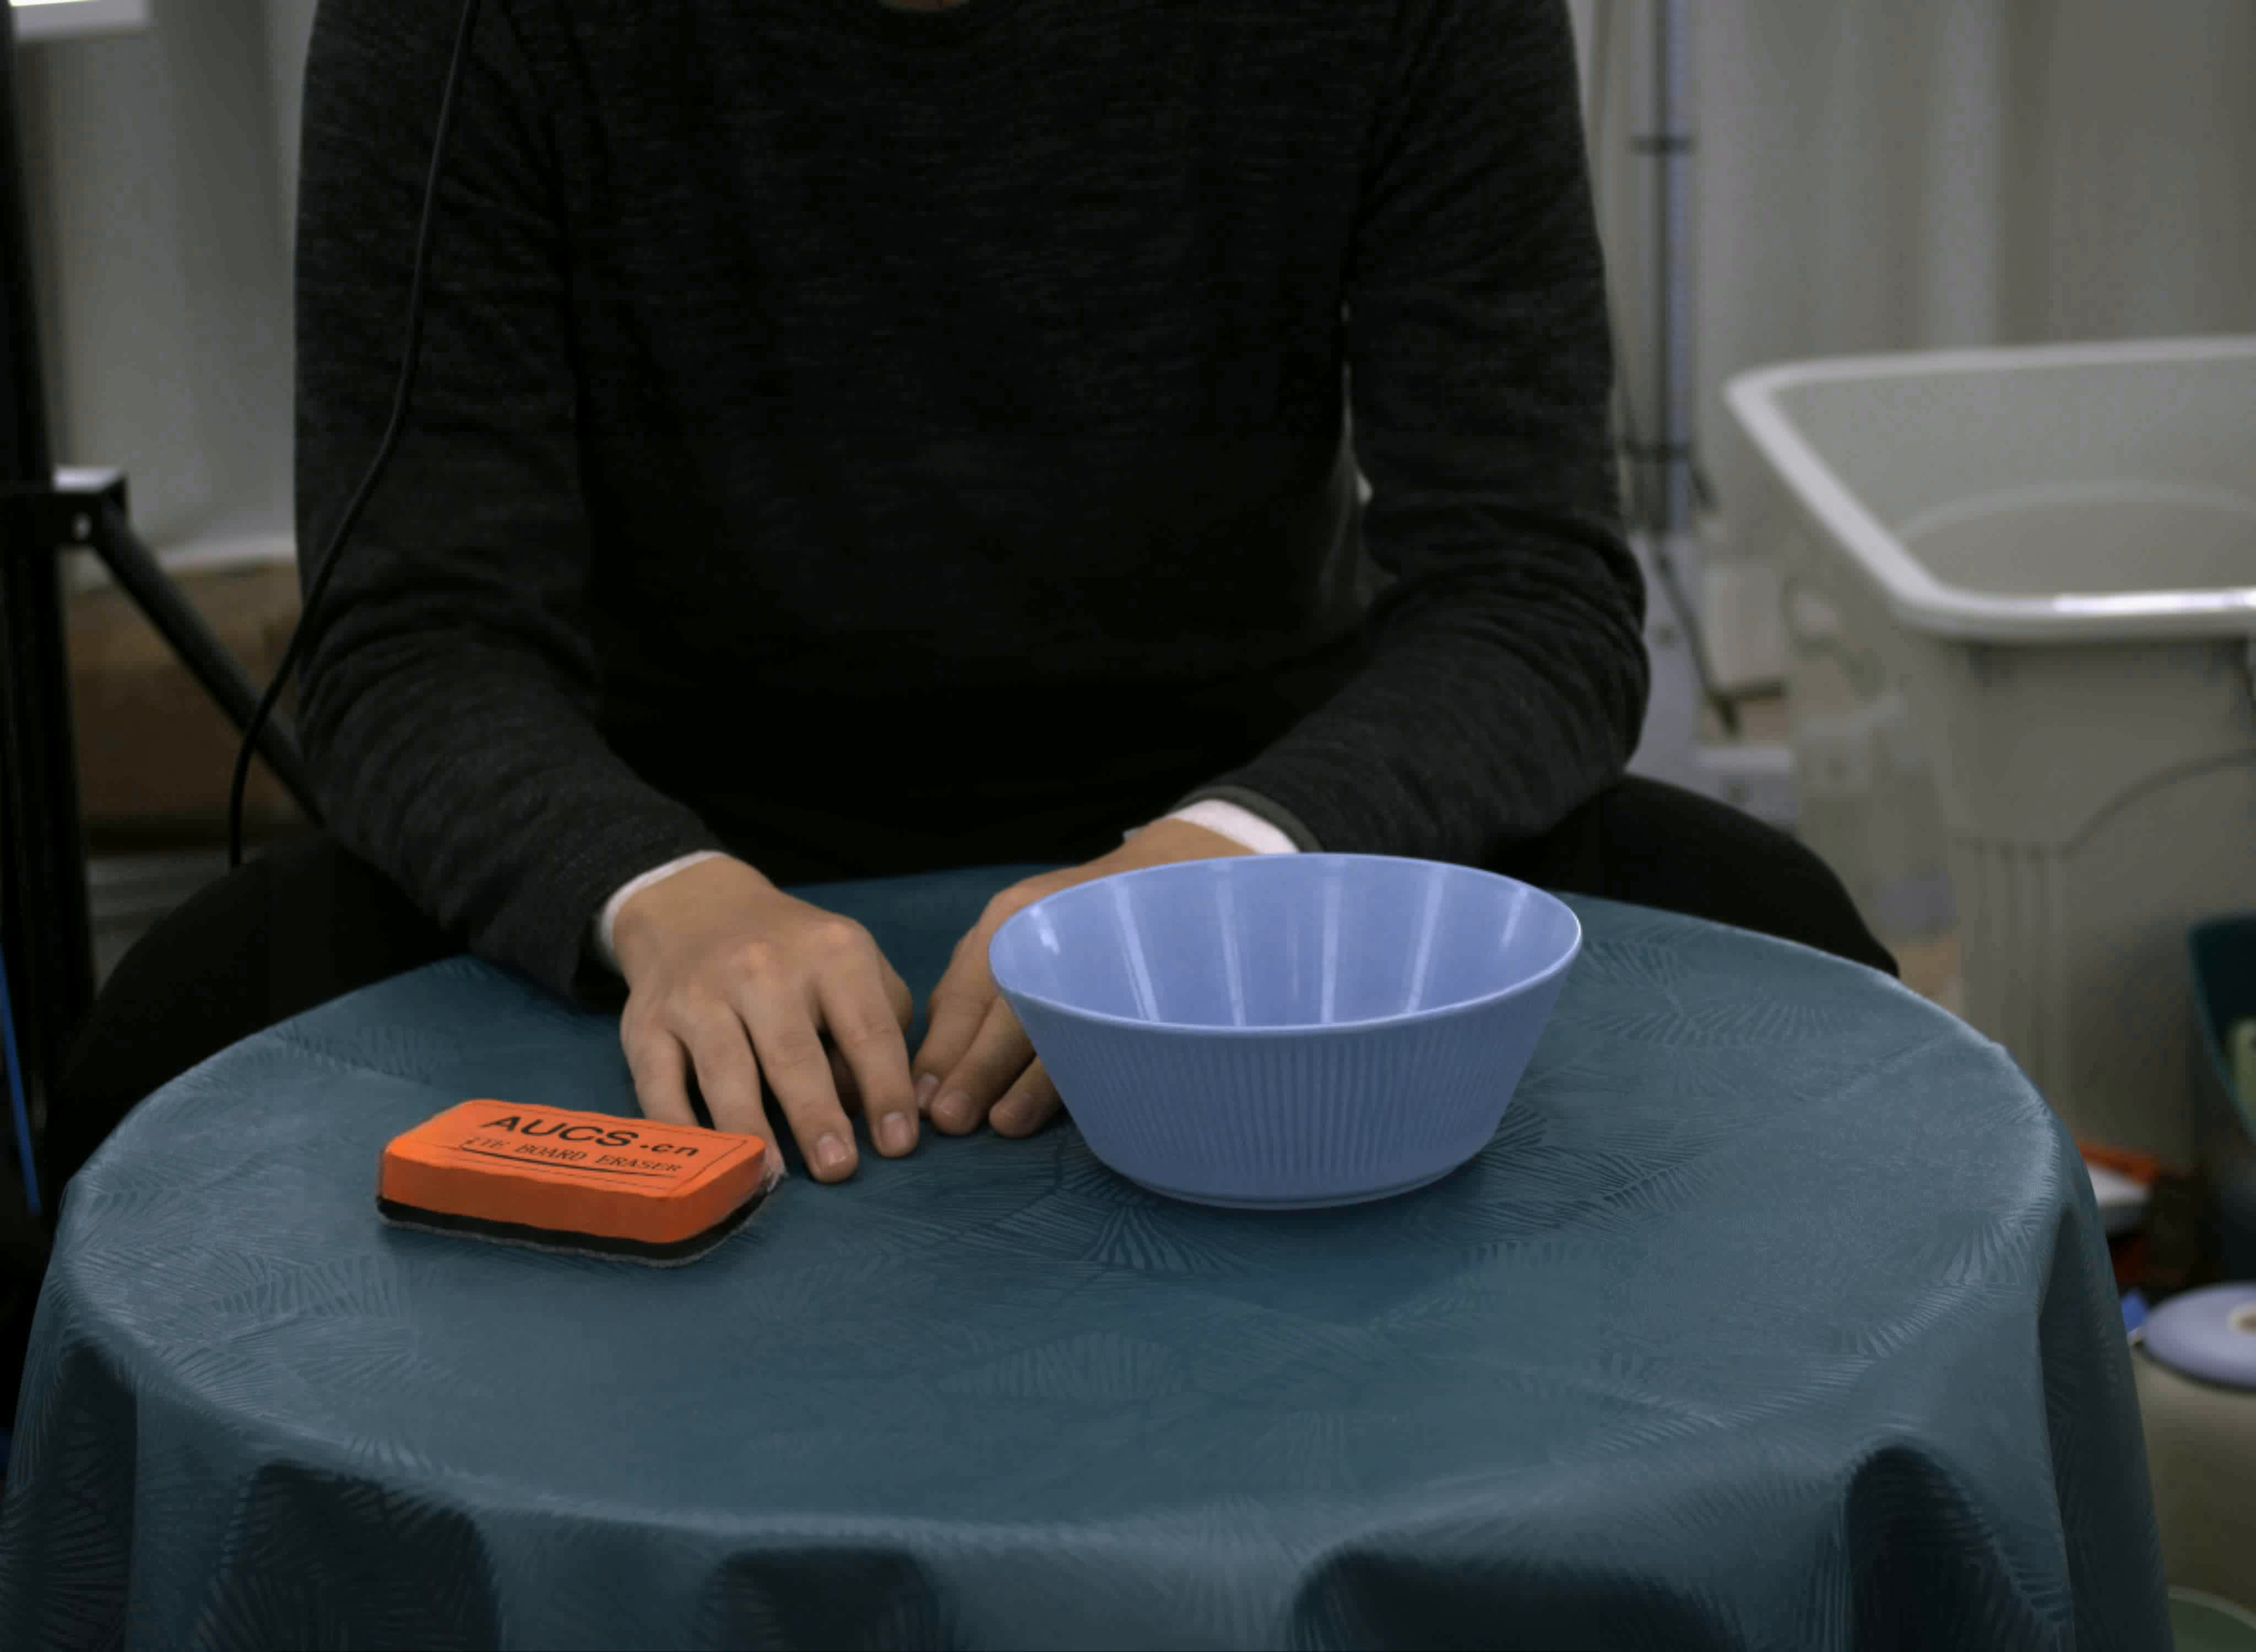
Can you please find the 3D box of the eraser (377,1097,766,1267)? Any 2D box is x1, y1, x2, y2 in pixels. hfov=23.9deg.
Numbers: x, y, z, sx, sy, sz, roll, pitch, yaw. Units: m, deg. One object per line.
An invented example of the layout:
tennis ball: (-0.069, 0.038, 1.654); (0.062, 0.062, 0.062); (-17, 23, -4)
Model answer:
eraser: (-0.162, 0.104, 1.557); (0.110, 0.023, 0.058); (6, 19, 29)

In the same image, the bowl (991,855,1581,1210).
bowl: (0.047, 0.064, 1.579); (0.175, 0.070, 0.177); (-3, 16, -1)
